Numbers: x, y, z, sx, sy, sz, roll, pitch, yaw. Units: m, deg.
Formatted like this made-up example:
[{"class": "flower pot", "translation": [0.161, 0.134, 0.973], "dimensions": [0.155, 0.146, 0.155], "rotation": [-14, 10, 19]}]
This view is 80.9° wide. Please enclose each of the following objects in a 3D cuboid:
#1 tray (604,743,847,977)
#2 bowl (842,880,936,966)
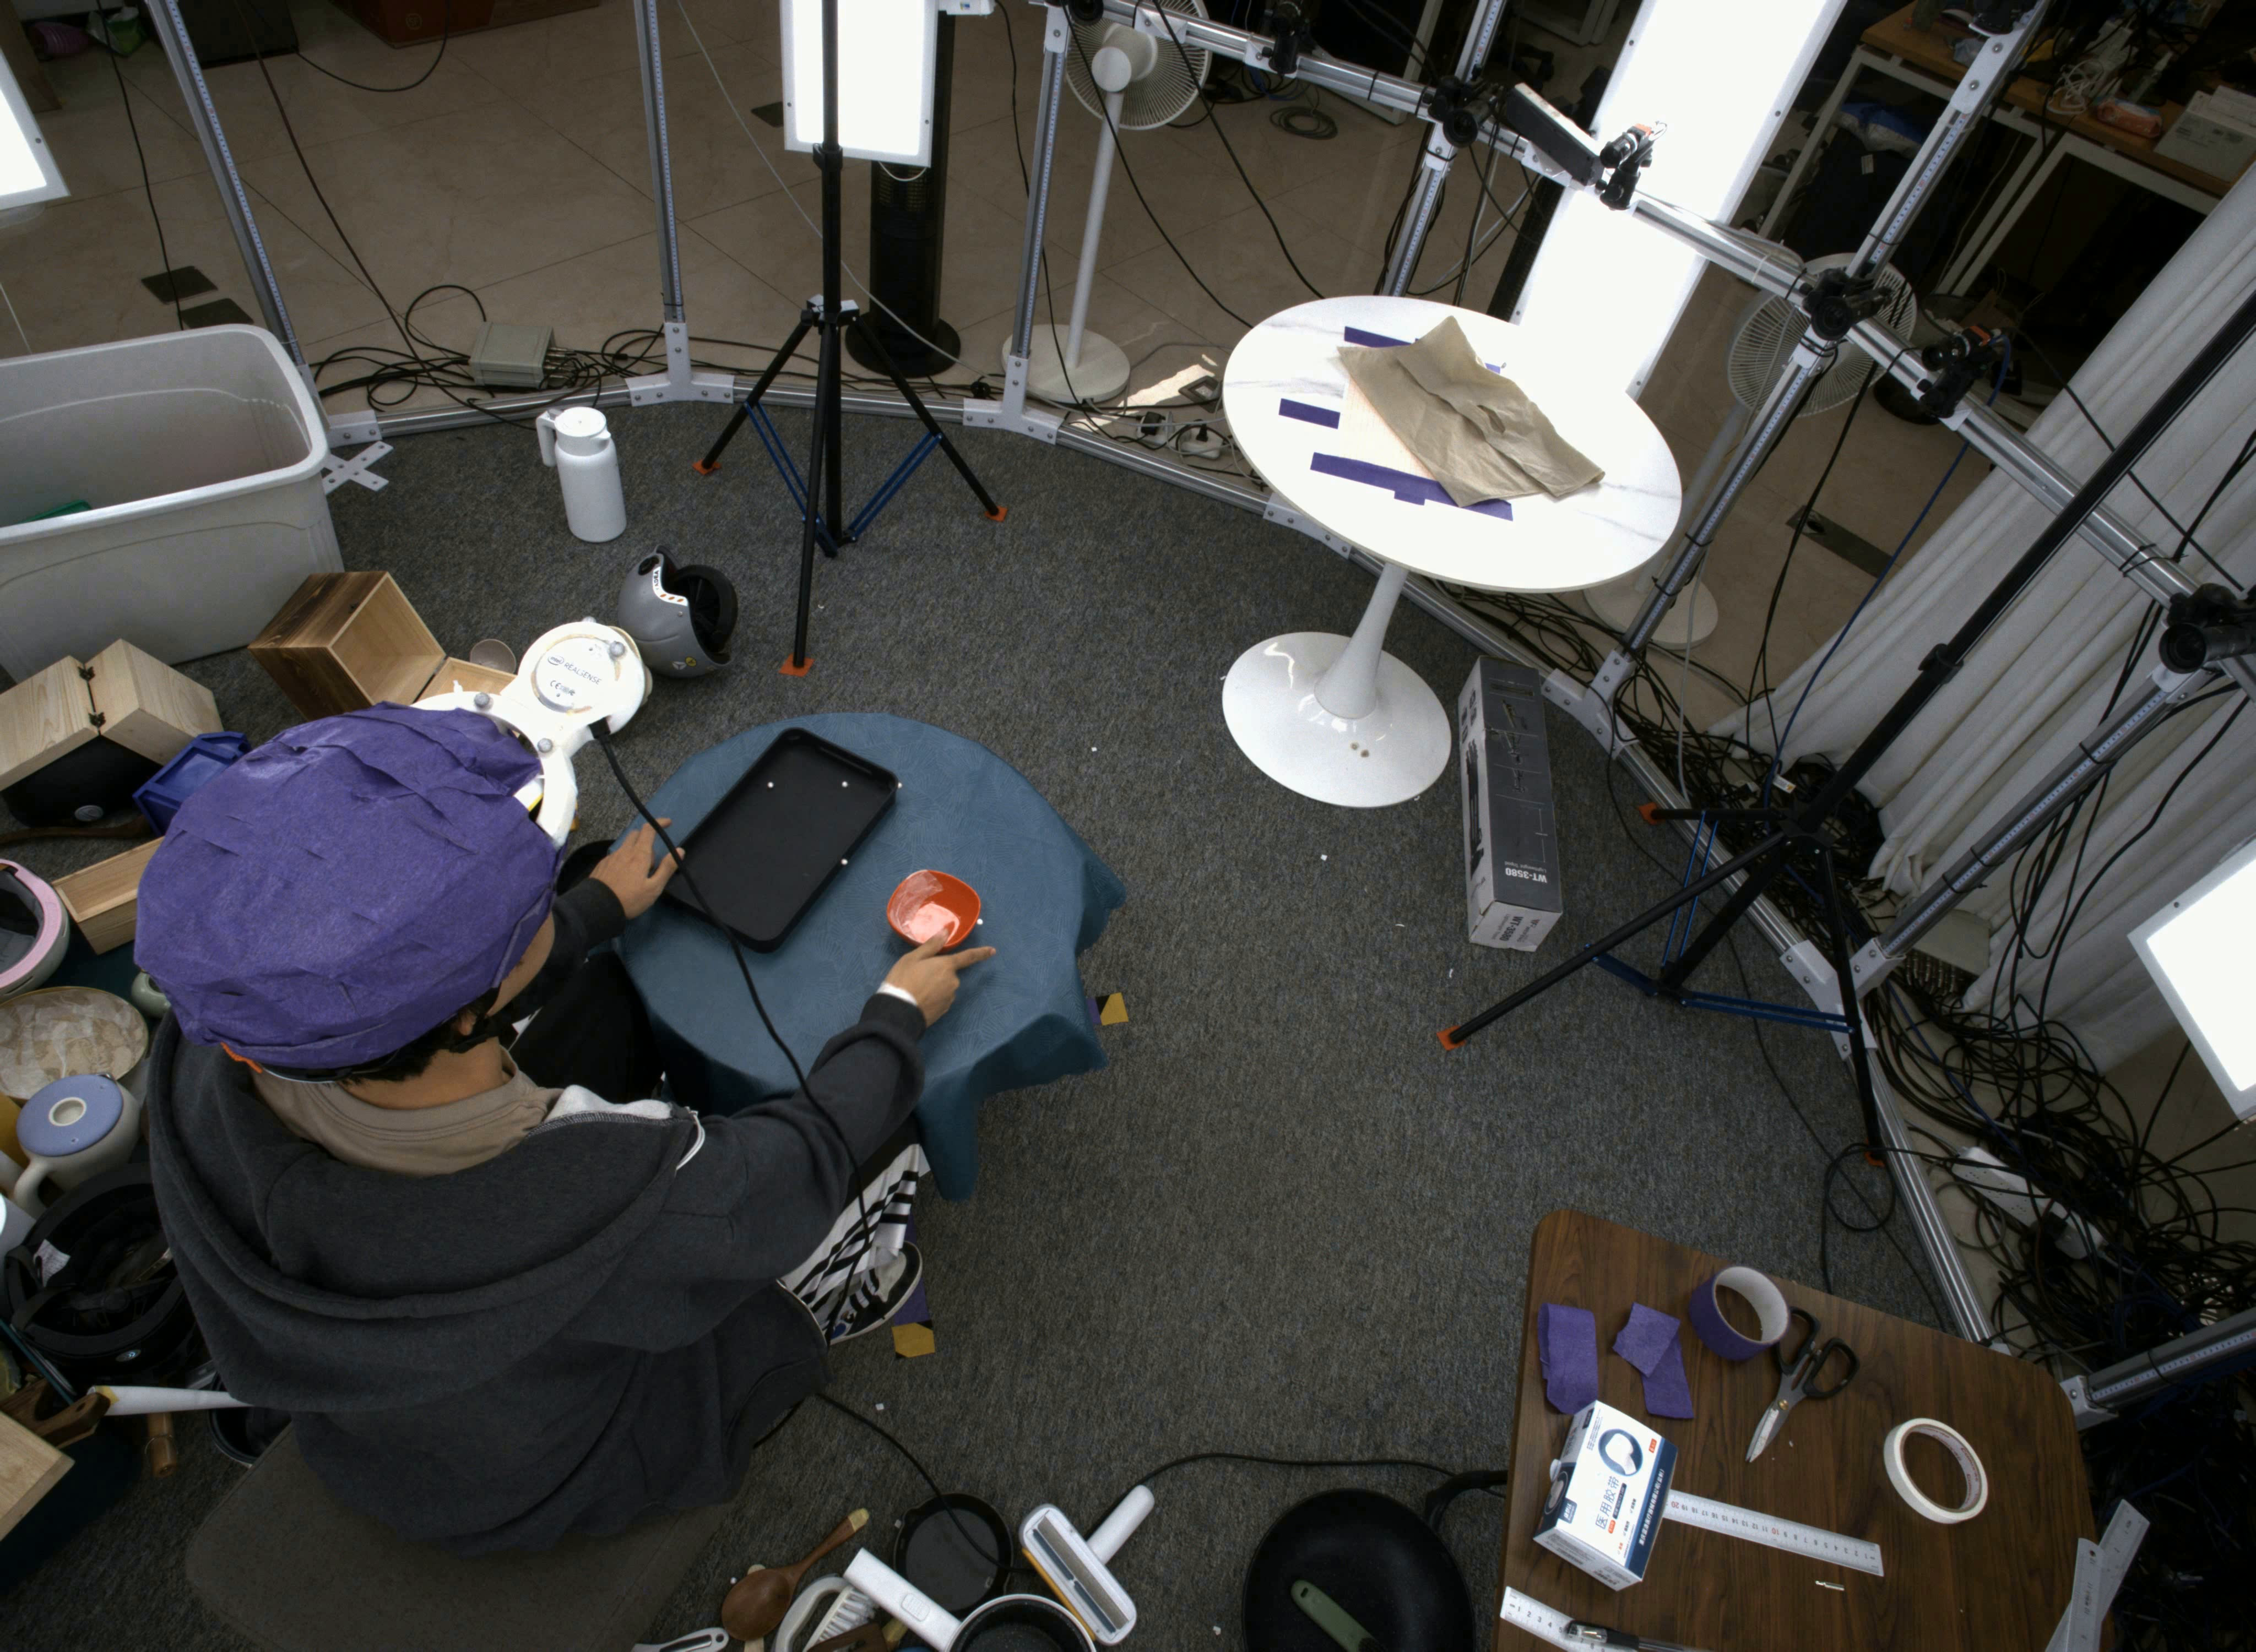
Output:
[{"class": "tray", "translation": [-0.511, 0.035, 1.656], "dimensions": [0.182, 0.038, 0.315], "rotation": [24, 51, 4]}, {"class": "bowl", "translation": [-0.300, 0.128, 1.629], "dimensions": [0.119, 0.052, 0.117], "rotation": [9, 50, -9]}]
